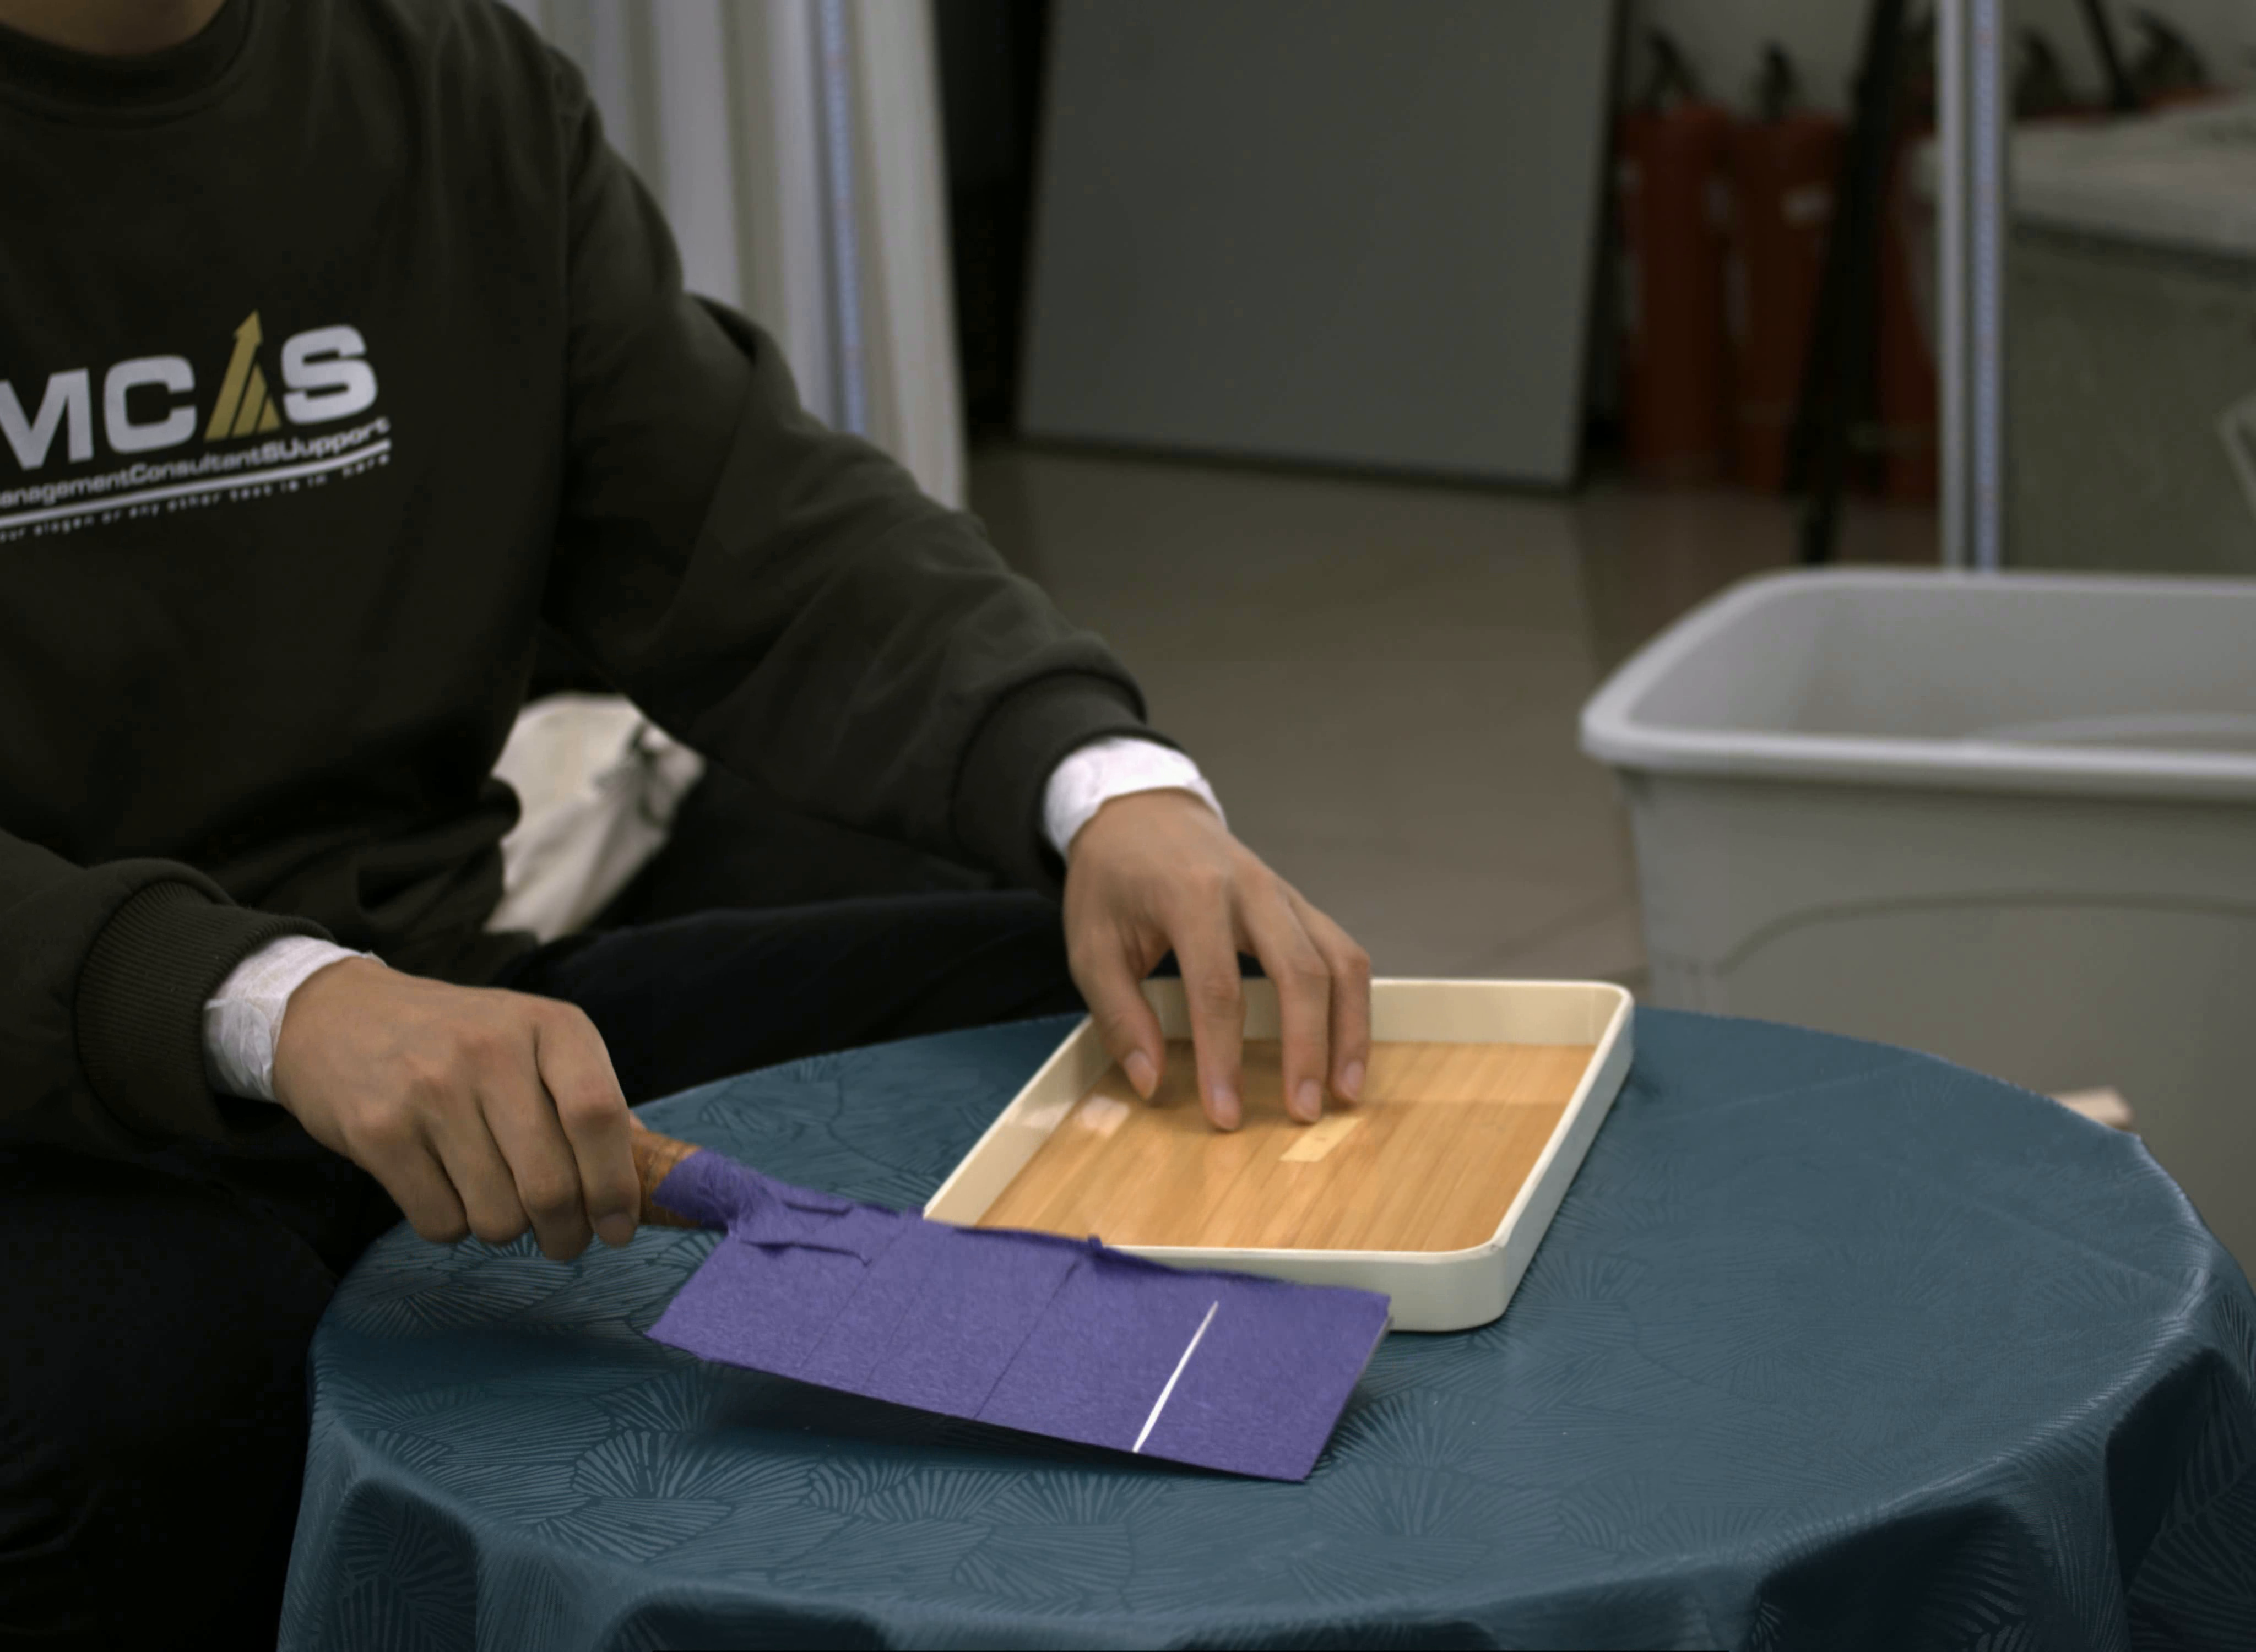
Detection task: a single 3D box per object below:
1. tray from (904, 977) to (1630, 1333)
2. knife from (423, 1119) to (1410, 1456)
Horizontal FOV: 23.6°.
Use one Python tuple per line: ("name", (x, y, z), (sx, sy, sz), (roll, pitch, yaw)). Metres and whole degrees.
("tray", (0.053, 0.104, 1.771), (0.191, 0.028, 0.298), (0, 14, 15))
("knife", (-0.077, 0.135, 1.591), (0.315, 0.032, 0.103), (7, 28, 21))
